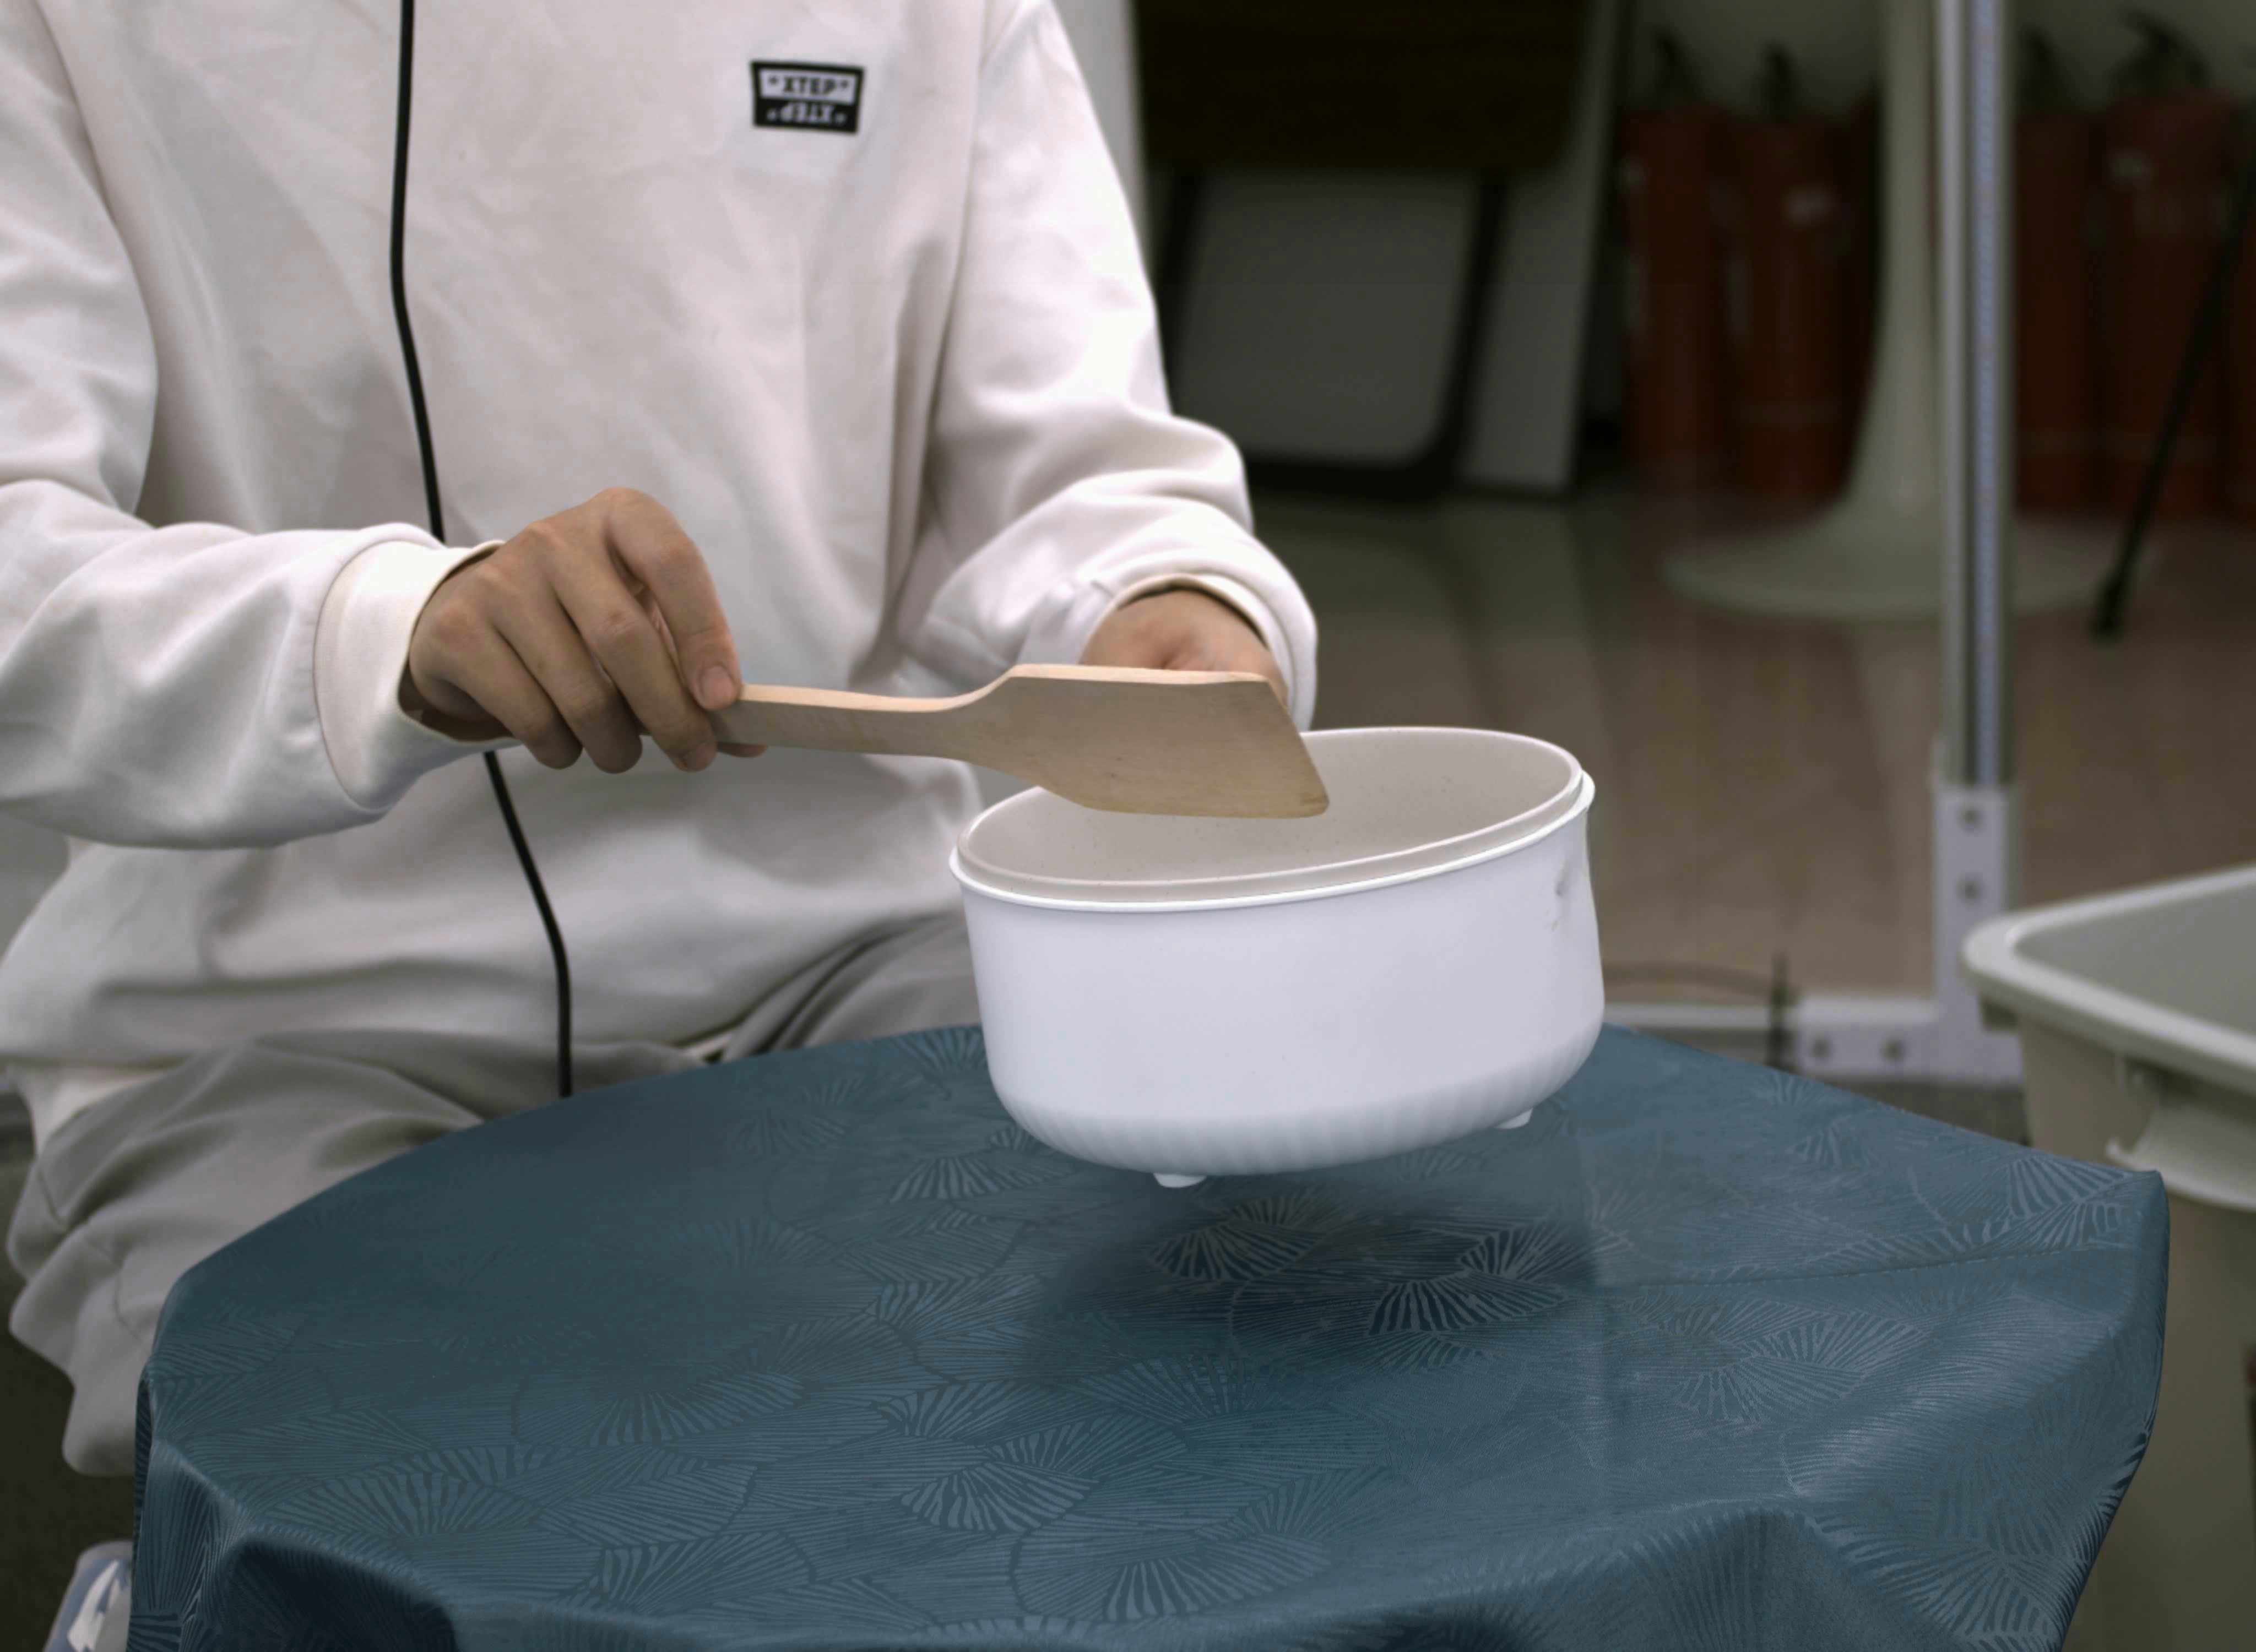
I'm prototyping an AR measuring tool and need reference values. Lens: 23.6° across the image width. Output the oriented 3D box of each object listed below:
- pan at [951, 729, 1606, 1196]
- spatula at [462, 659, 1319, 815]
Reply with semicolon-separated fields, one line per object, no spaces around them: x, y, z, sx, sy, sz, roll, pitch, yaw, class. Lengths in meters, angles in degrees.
0.034;0.030;1.739;0.198;0.103;0.357;-11;11;-10;pan
-0.082;-0.034;1.666;0.294;0.072;0.011;4;55;28;spatula
